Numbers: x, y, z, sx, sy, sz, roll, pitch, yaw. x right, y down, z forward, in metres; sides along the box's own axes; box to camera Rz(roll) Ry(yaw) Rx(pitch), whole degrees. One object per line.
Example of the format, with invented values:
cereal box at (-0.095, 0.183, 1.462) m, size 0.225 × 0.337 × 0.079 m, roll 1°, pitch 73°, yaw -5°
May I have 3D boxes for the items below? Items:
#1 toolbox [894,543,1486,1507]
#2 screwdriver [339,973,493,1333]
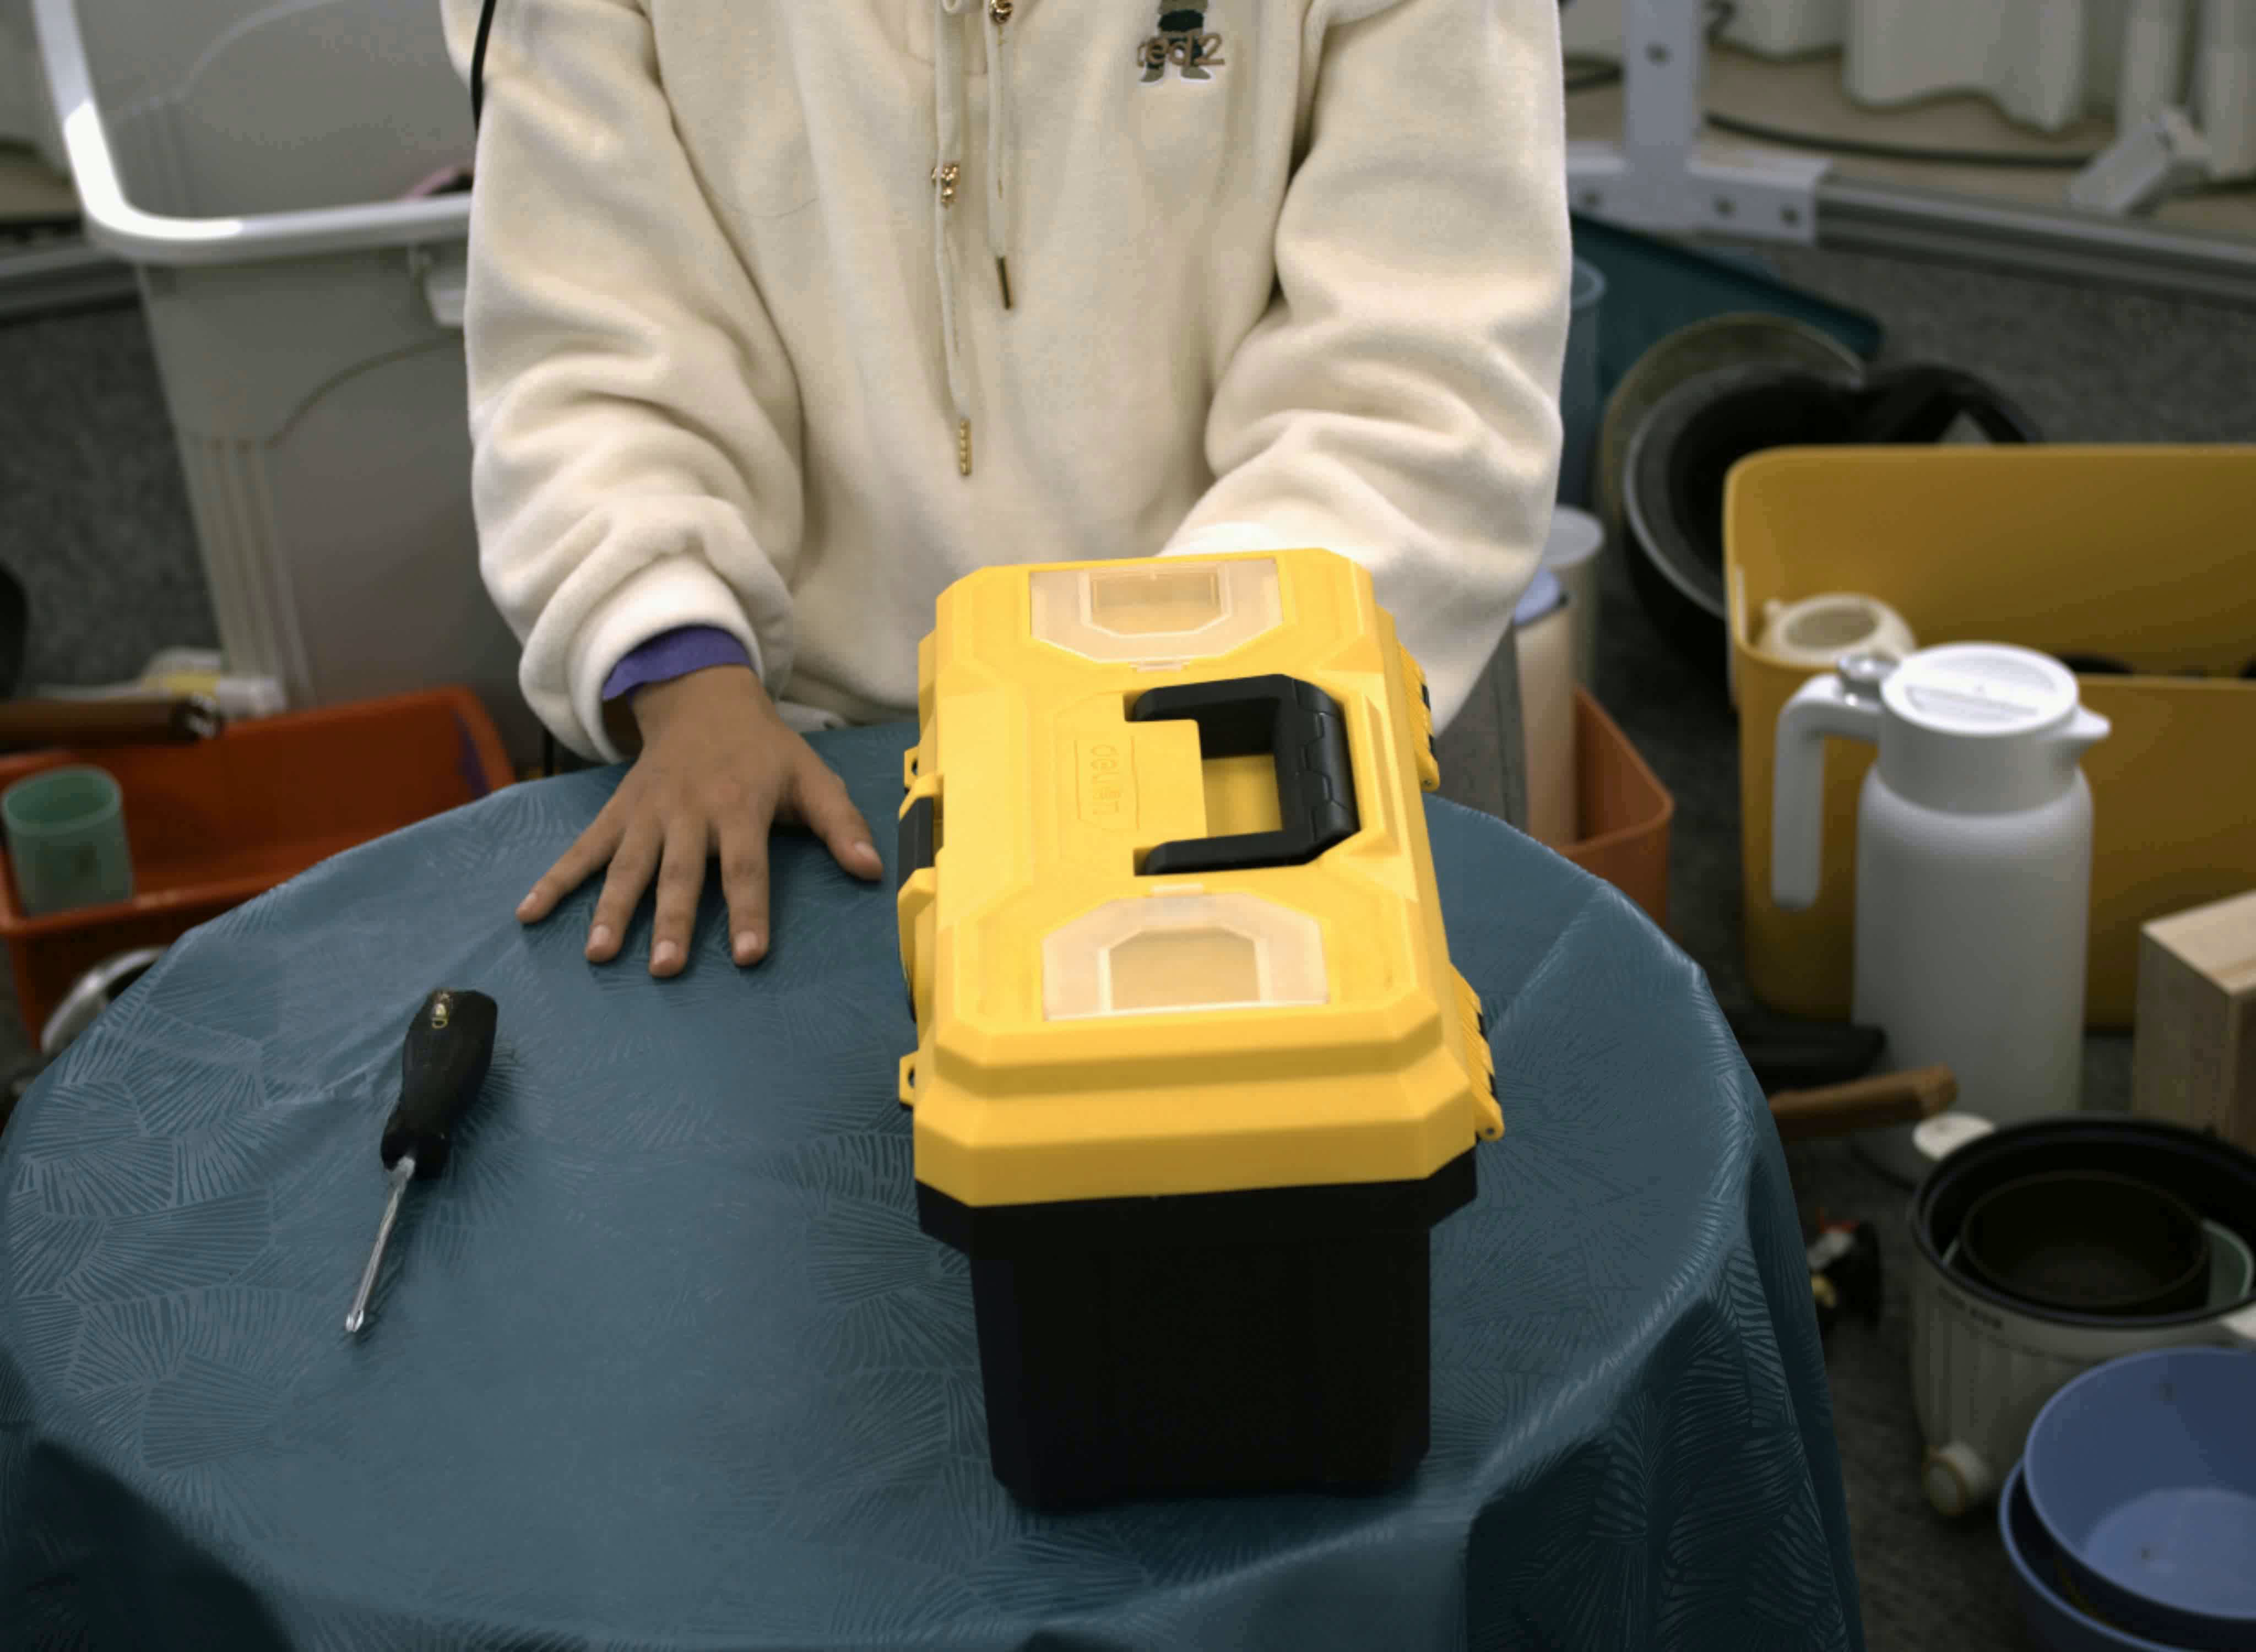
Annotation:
toolbox at (0.017, 0.056, 1.799) m, size 0.180 × 0.171 × 0.357 m, roll -3°, pitch 27°, yaw 0°
screwdriver at (-0.242, 0.108, 1.878) m, size 0.031 × 0.031 × 0.199 m, roll 1°, pitch 29°, yaw 7°
